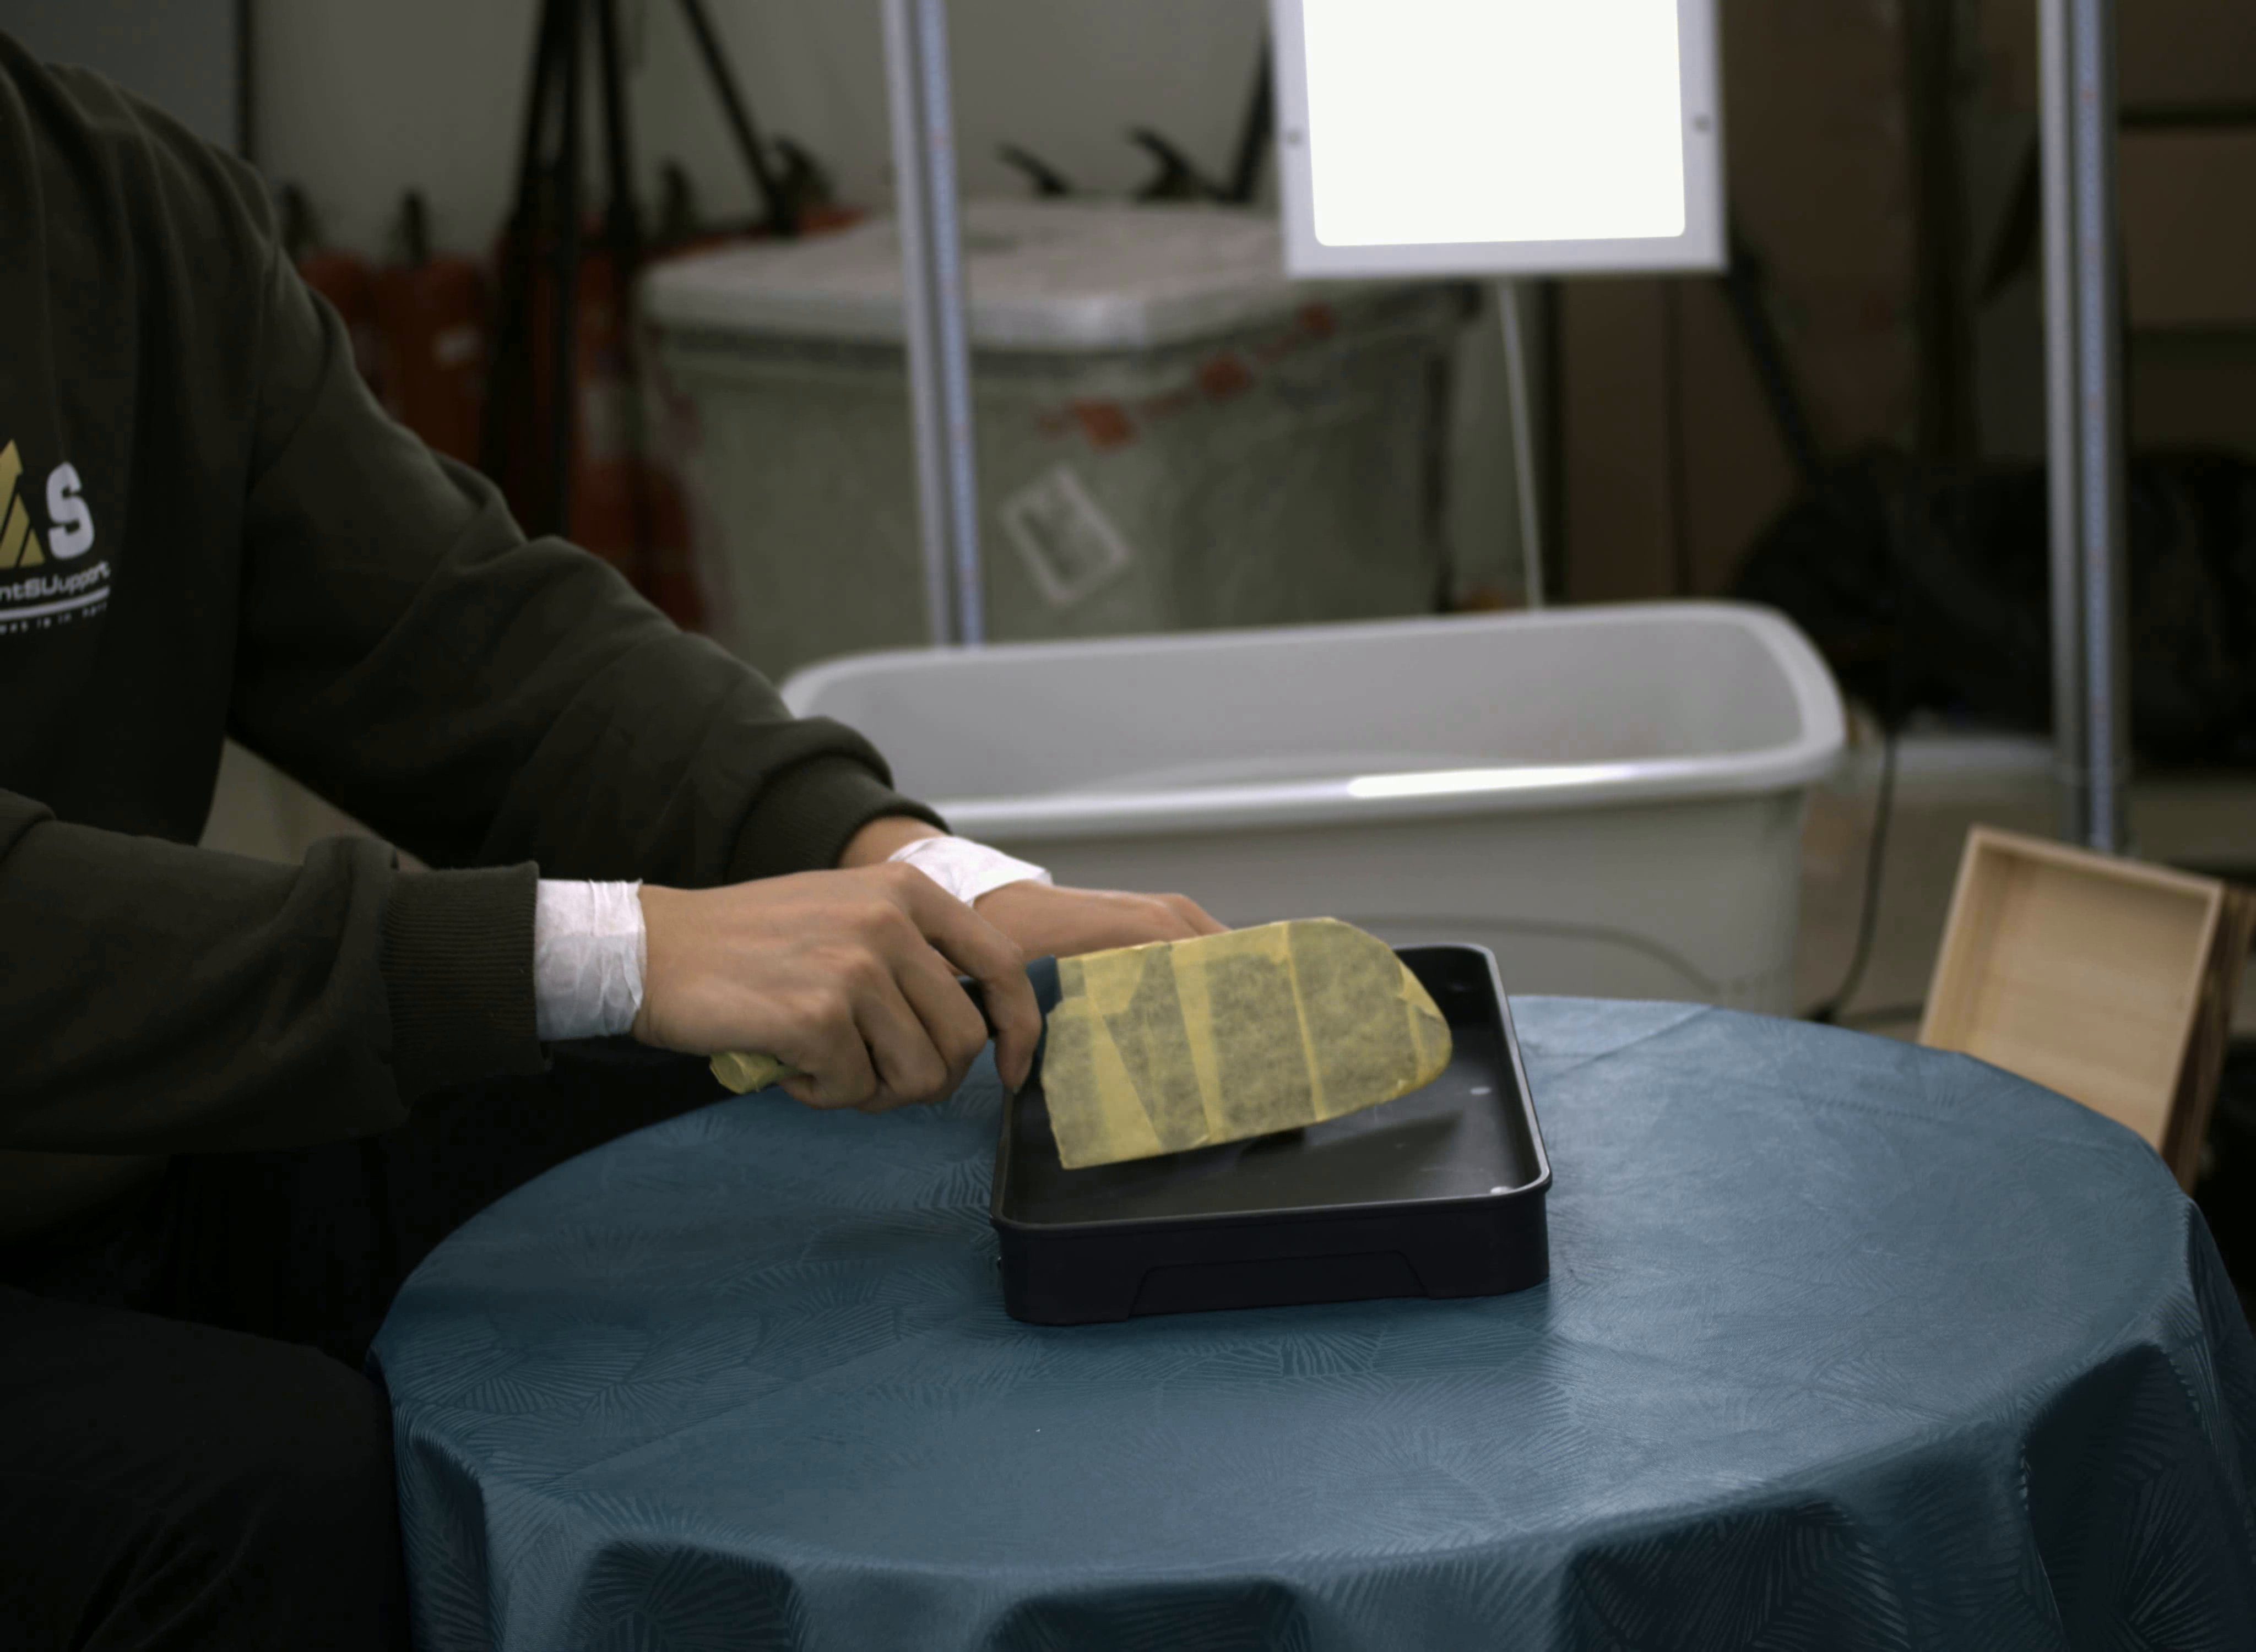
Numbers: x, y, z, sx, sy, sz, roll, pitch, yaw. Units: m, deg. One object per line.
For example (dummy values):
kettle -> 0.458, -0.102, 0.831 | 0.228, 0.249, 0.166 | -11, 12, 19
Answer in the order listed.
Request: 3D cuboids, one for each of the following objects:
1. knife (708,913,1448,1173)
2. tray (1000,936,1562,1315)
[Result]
knife -> -0.011, 0.078, 1.899 | 0.283, 0.081, 0.028 | -6, -9, -26
tray -> 0.047, 0.100, 1.916 | 0.184, 0.037, 0.317 | -5, 13, 1
